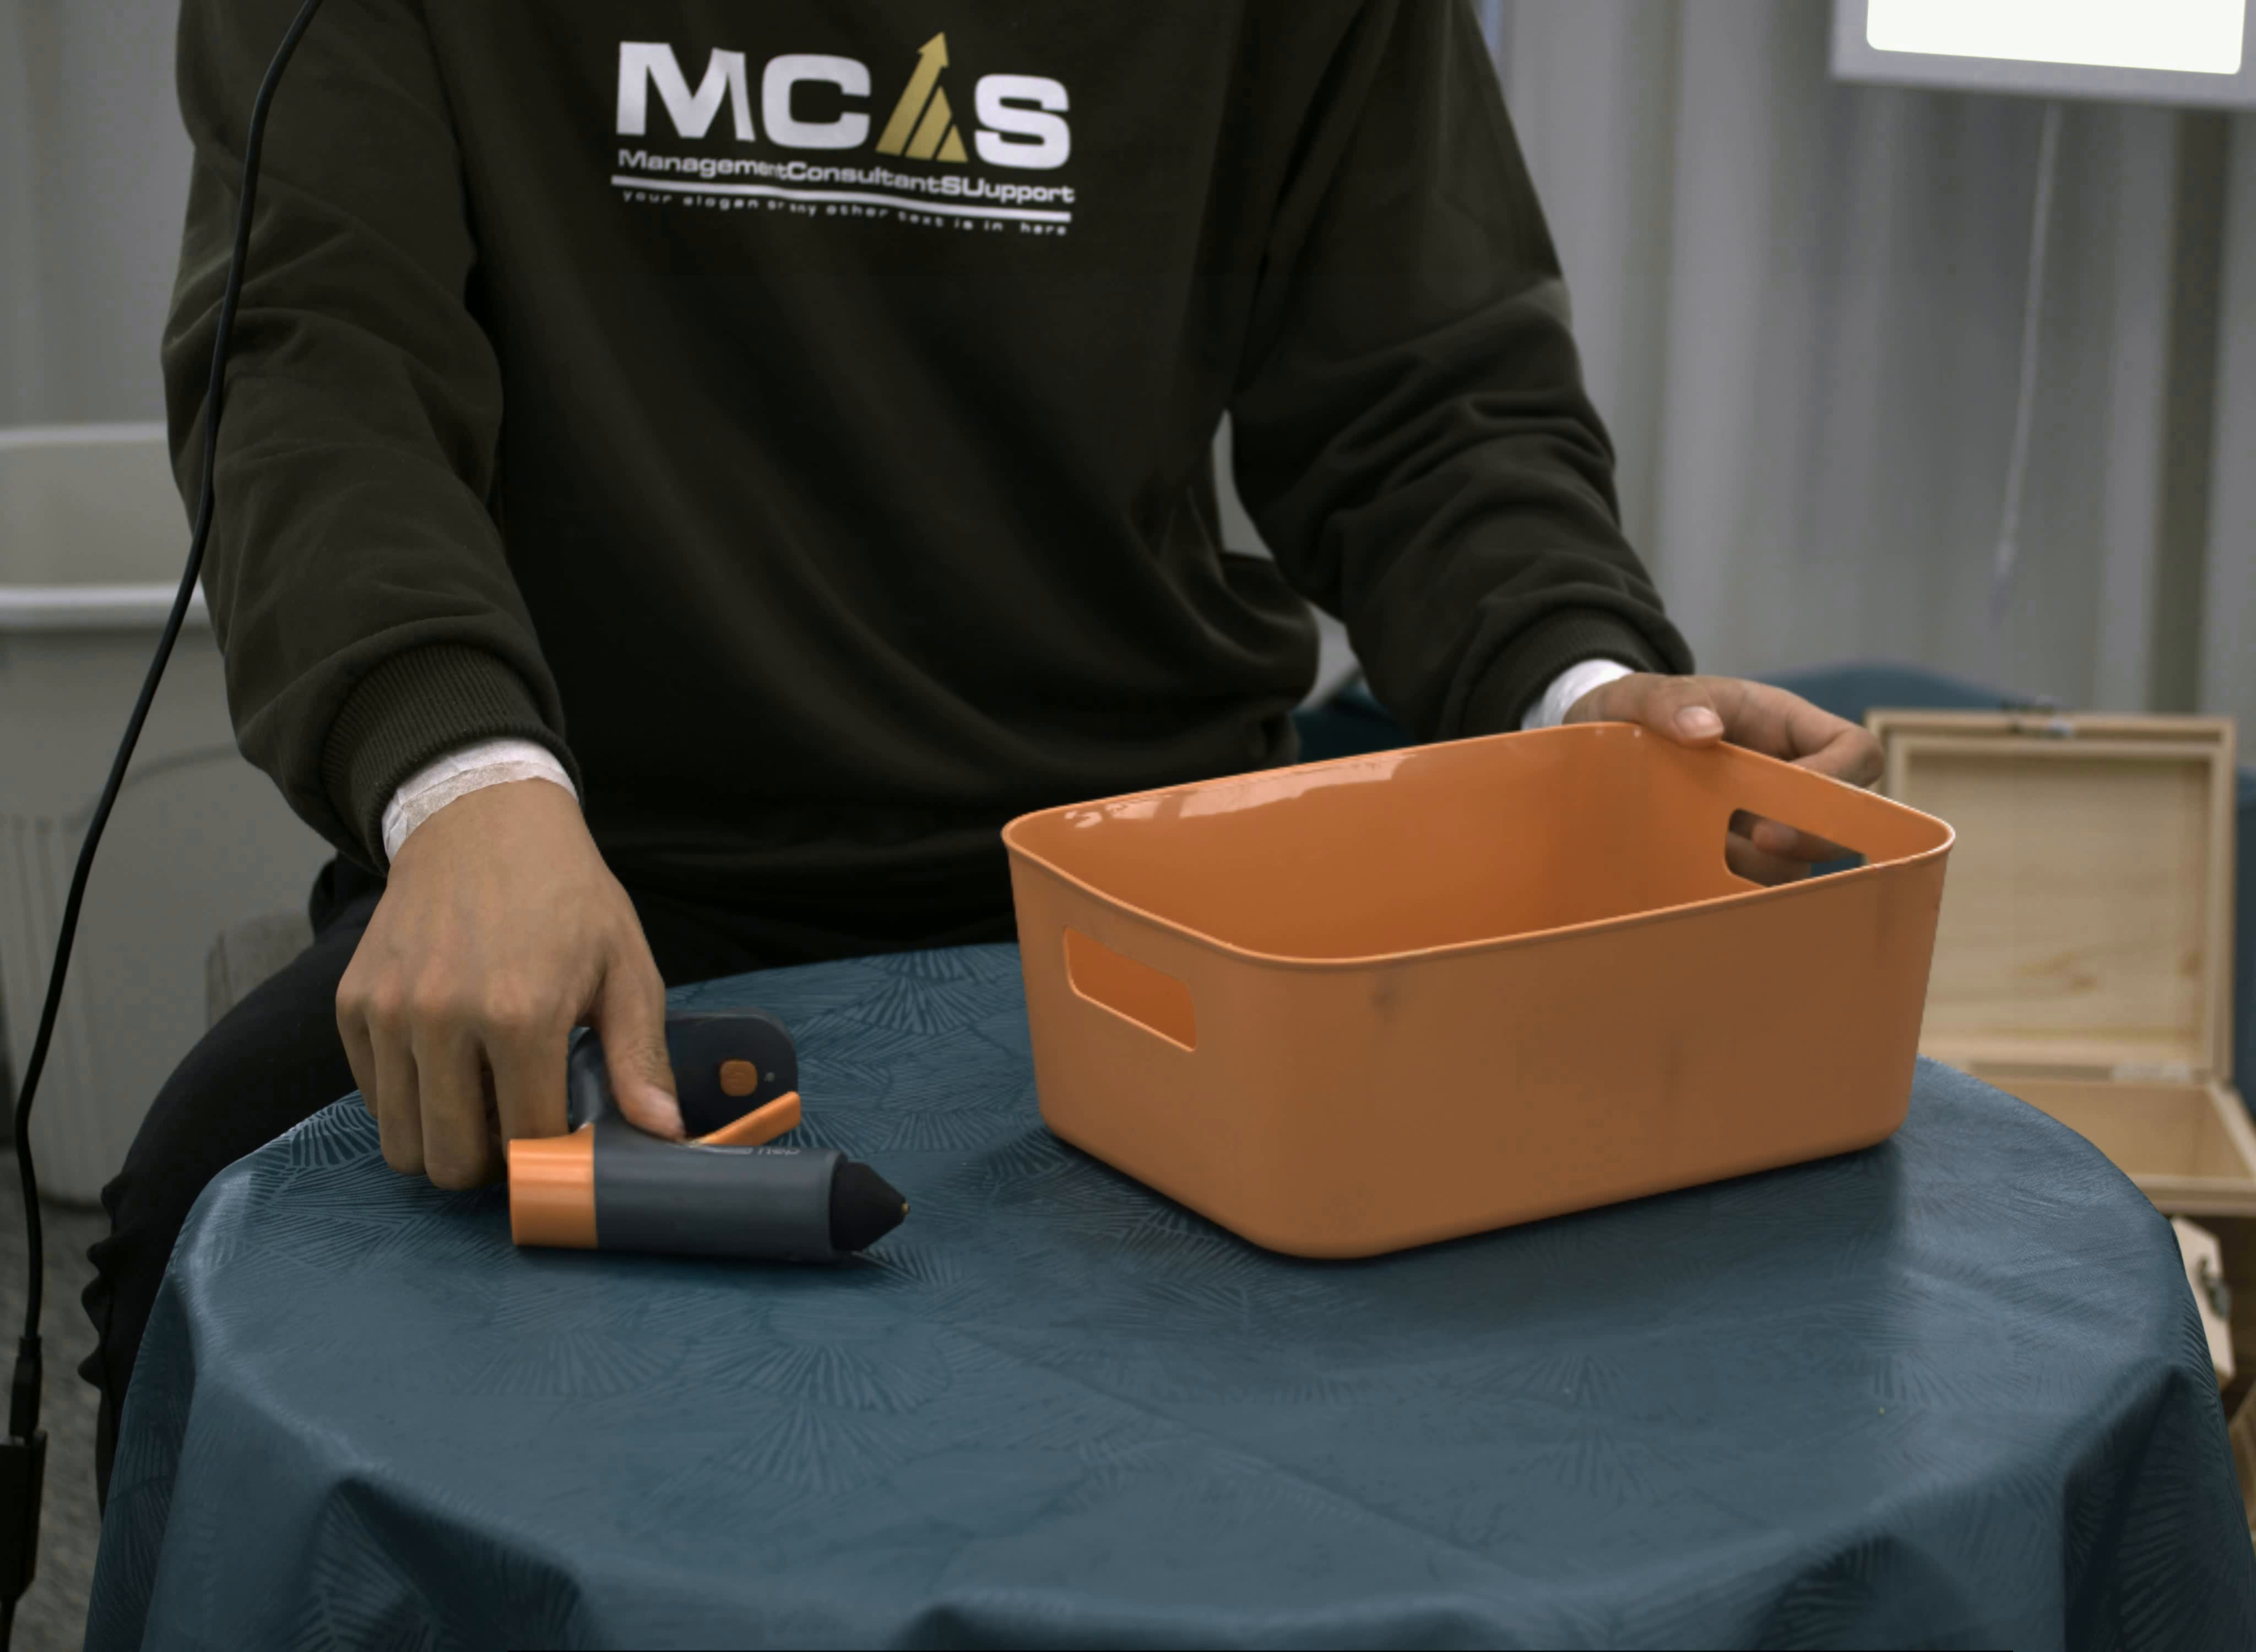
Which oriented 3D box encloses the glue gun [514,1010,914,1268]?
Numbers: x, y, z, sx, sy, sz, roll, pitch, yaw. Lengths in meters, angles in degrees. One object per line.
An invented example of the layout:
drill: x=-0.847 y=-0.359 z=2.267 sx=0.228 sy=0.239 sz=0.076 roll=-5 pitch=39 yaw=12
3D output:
glue gun: x=-0.128 y=0.099 z=1.611 sx=0.118 sy=0.041 sz=0.138 roll=-2 pitch=19 yaw=-6

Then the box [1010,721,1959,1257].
box: x=0.111 y=0.049 z=1.669 sx=0.274 sy=0.103 sz=0.197 roll=-10 pitch=19 yaw=-31
